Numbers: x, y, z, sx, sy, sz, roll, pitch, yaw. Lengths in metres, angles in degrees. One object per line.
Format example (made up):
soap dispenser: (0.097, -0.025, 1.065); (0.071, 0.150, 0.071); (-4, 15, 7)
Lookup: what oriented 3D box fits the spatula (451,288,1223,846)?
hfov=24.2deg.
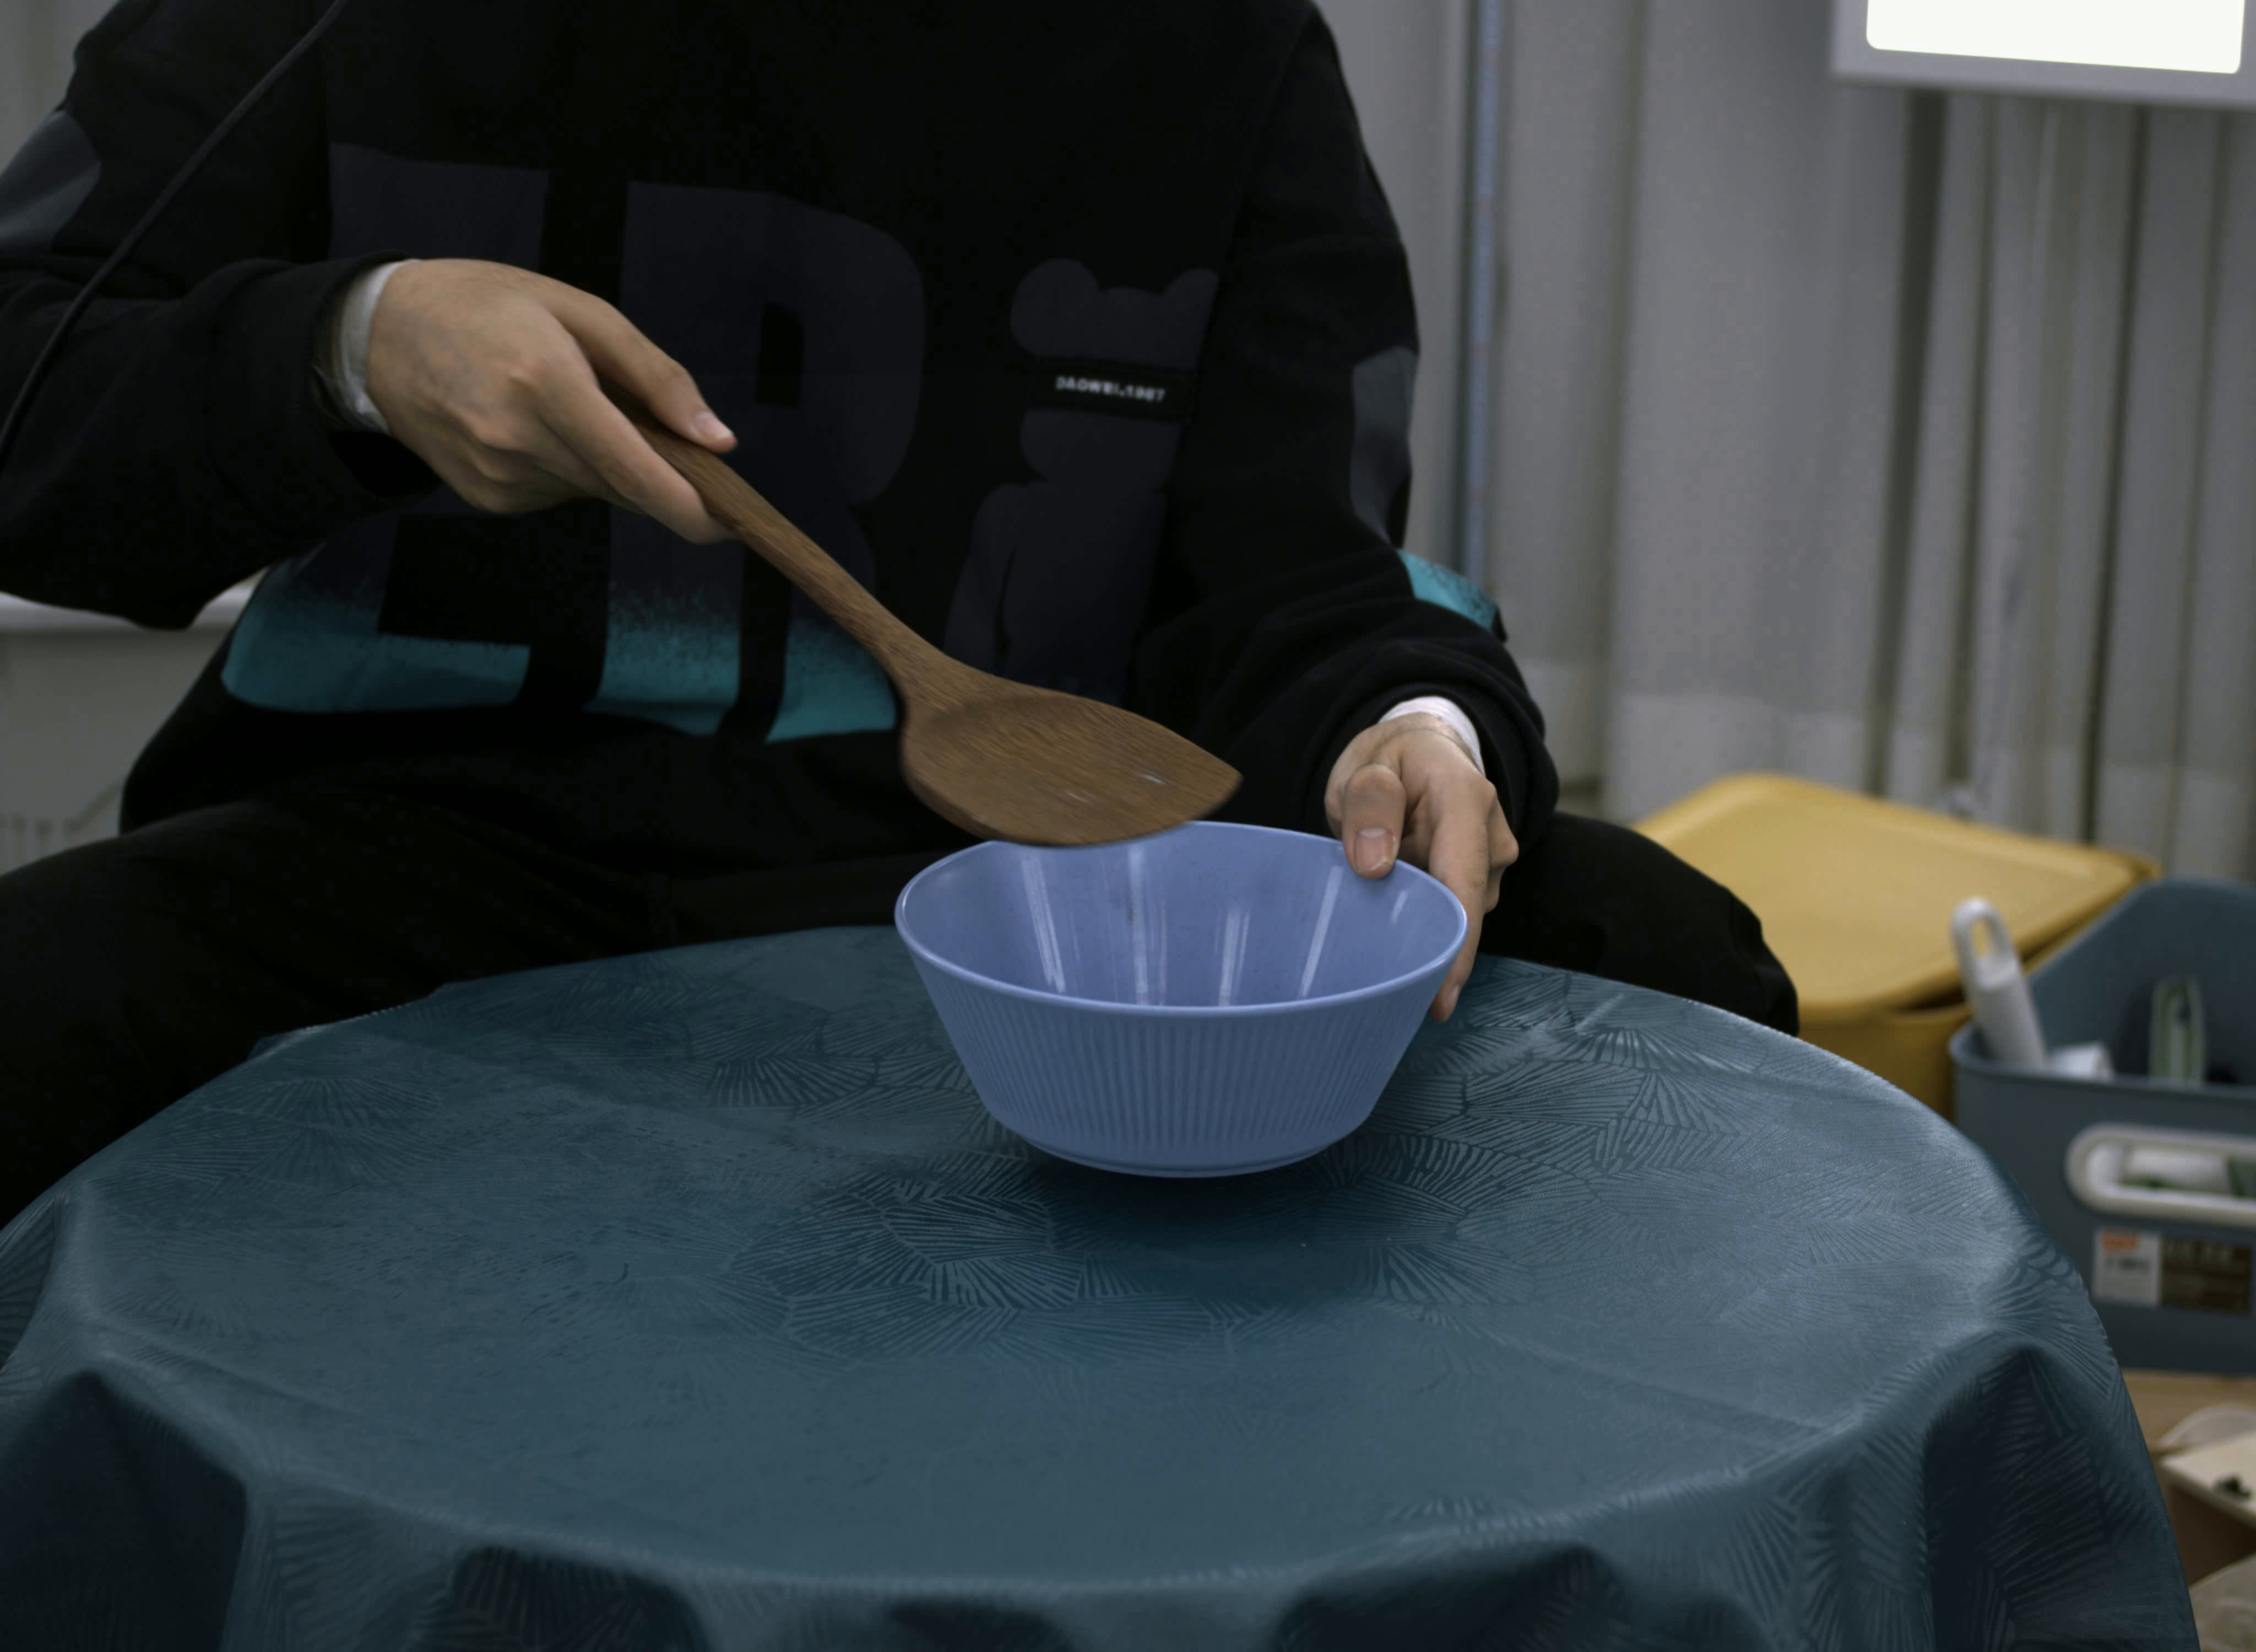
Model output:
spatula: (-0.113, -0.091, 1.691); (0.096, 0.016, 0.380); (-15, 40, -36)

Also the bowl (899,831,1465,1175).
bowl: (0.016, 0.057, 1.630); (0.175, 0.071, 0.175); (2, 18, 0)
